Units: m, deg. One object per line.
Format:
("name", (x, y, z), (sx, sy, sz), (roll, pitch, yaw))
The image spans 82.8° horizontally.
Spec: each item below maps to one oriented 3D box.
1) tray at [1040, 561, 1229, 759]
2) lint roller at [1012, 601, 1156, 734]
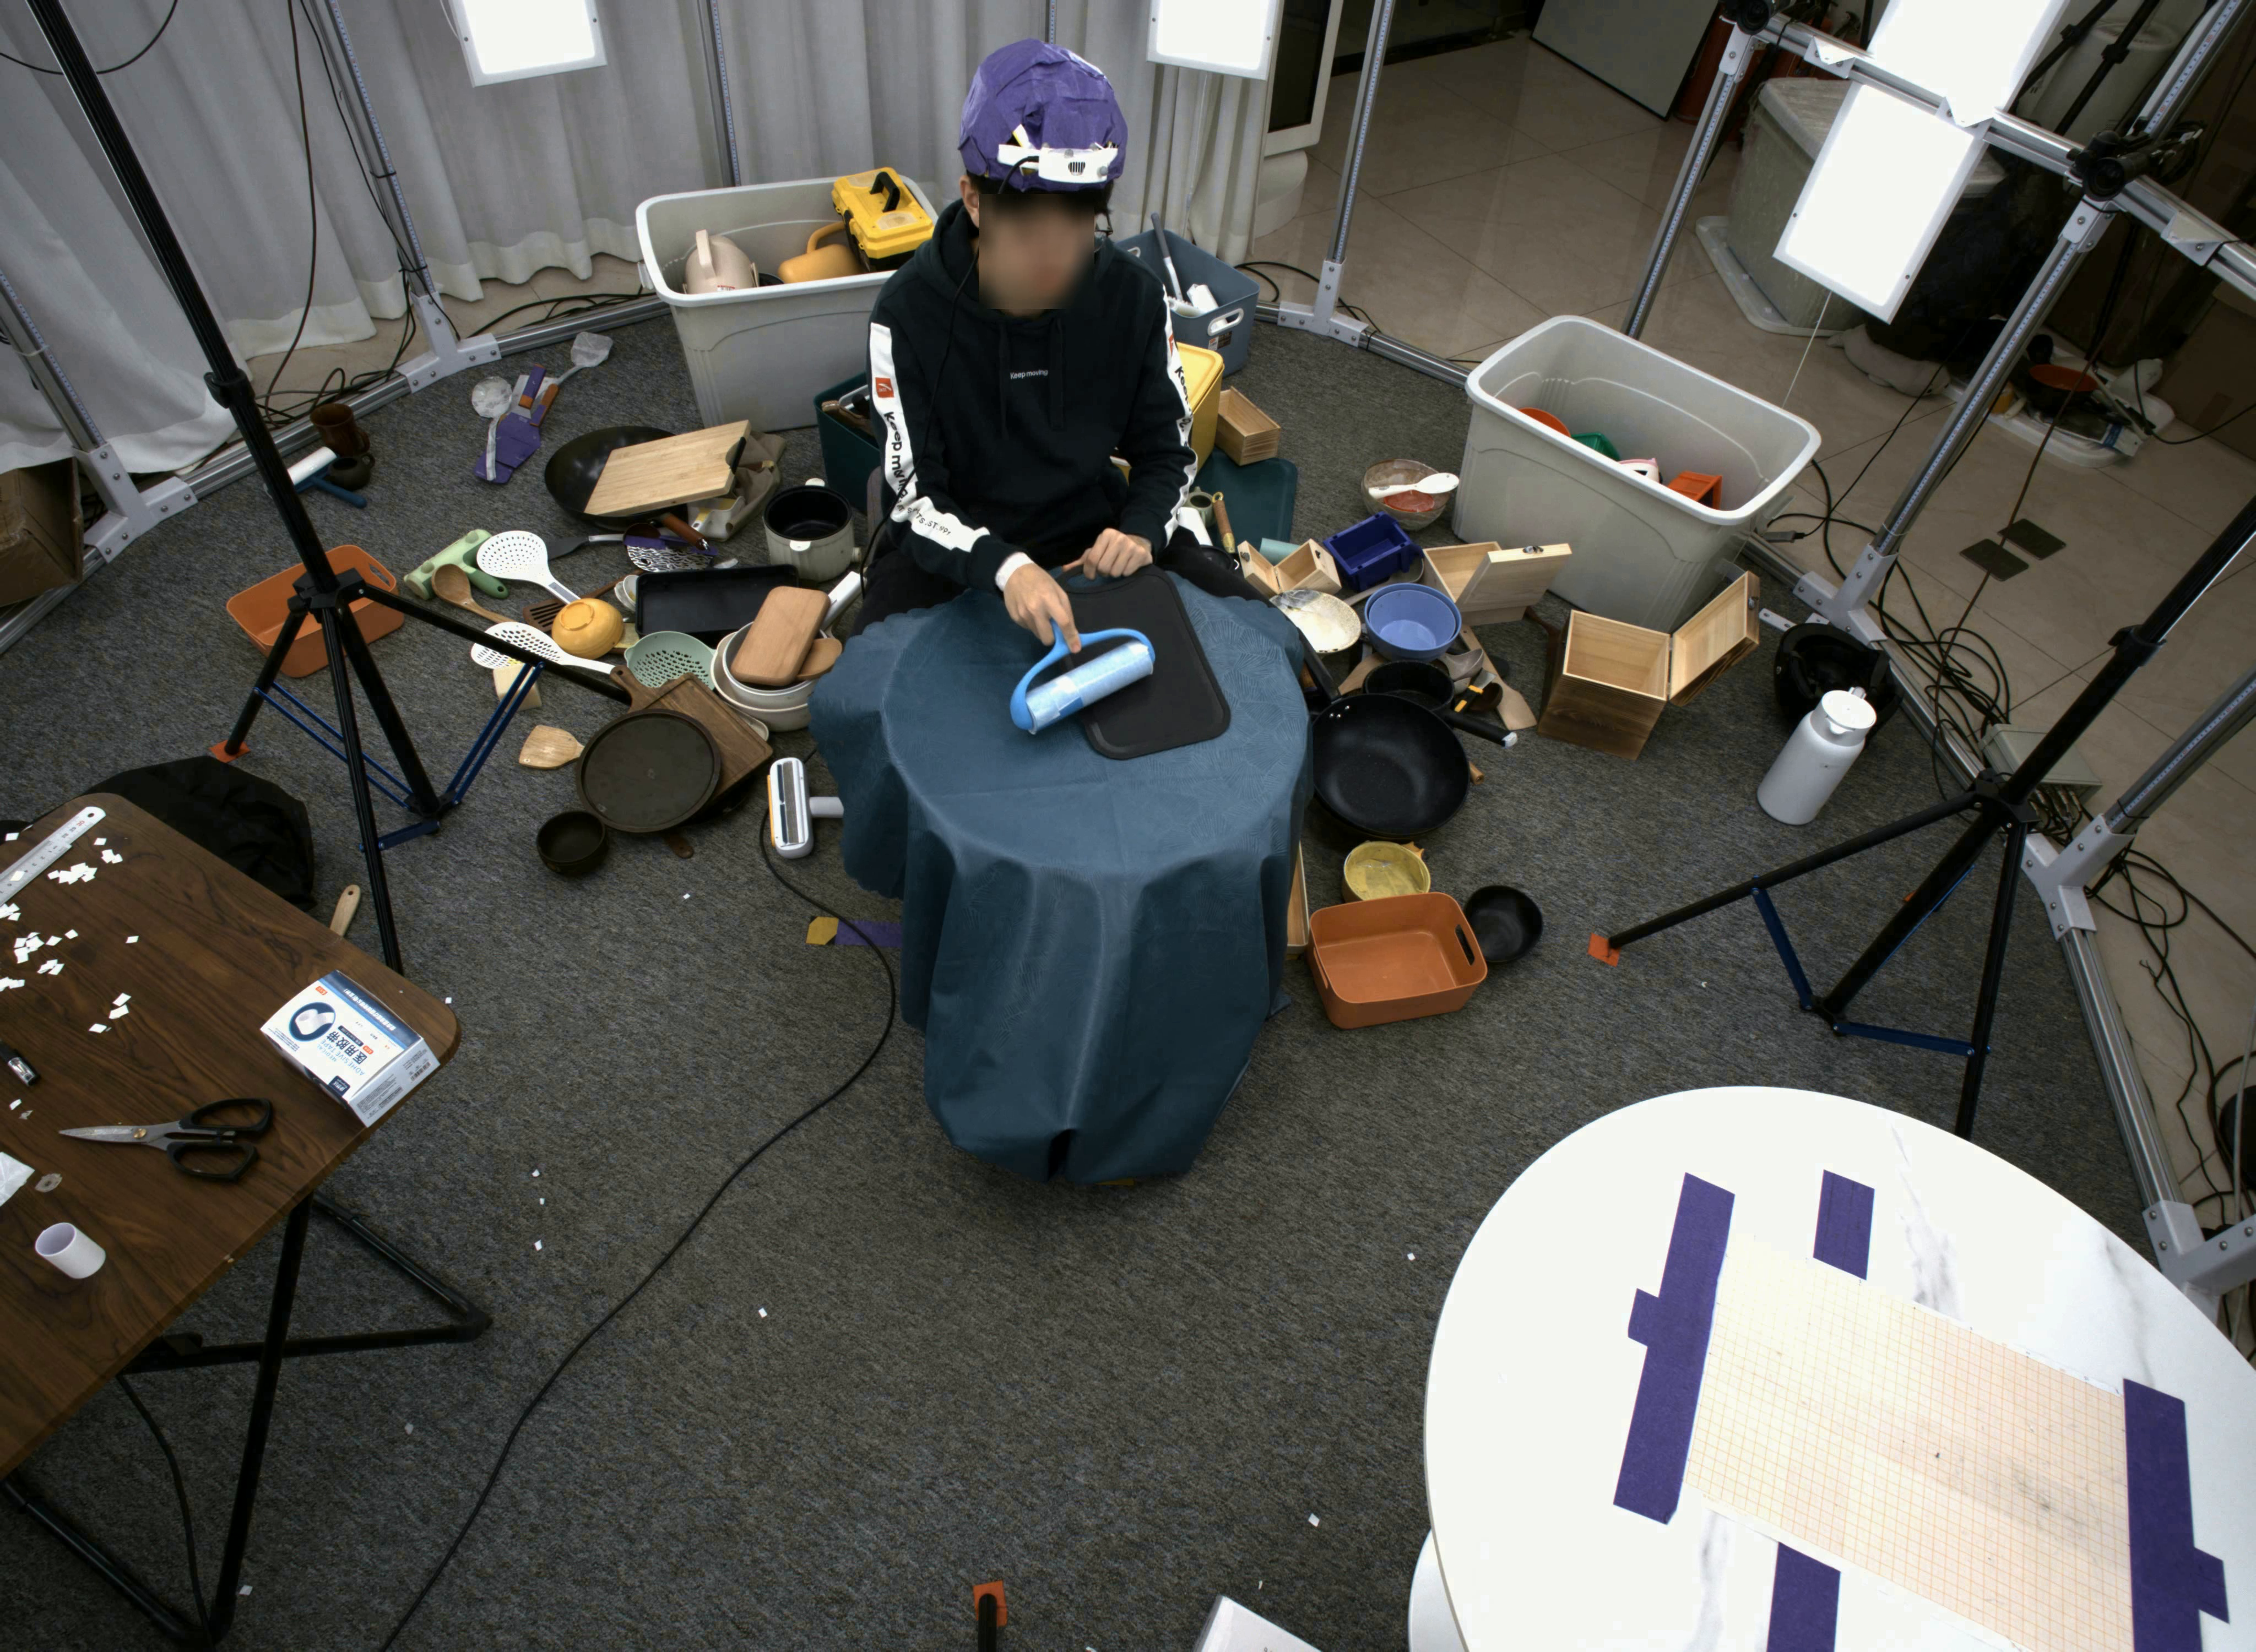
("tray", (0.004, -0.247, 1.833), (0.211, 0.009, 0.331), (-14, 65, -15))
("lint roller", (-0.091, -0.244, 1.778), (0.230, 0.067, 0.181), (-32, 83, -19))
